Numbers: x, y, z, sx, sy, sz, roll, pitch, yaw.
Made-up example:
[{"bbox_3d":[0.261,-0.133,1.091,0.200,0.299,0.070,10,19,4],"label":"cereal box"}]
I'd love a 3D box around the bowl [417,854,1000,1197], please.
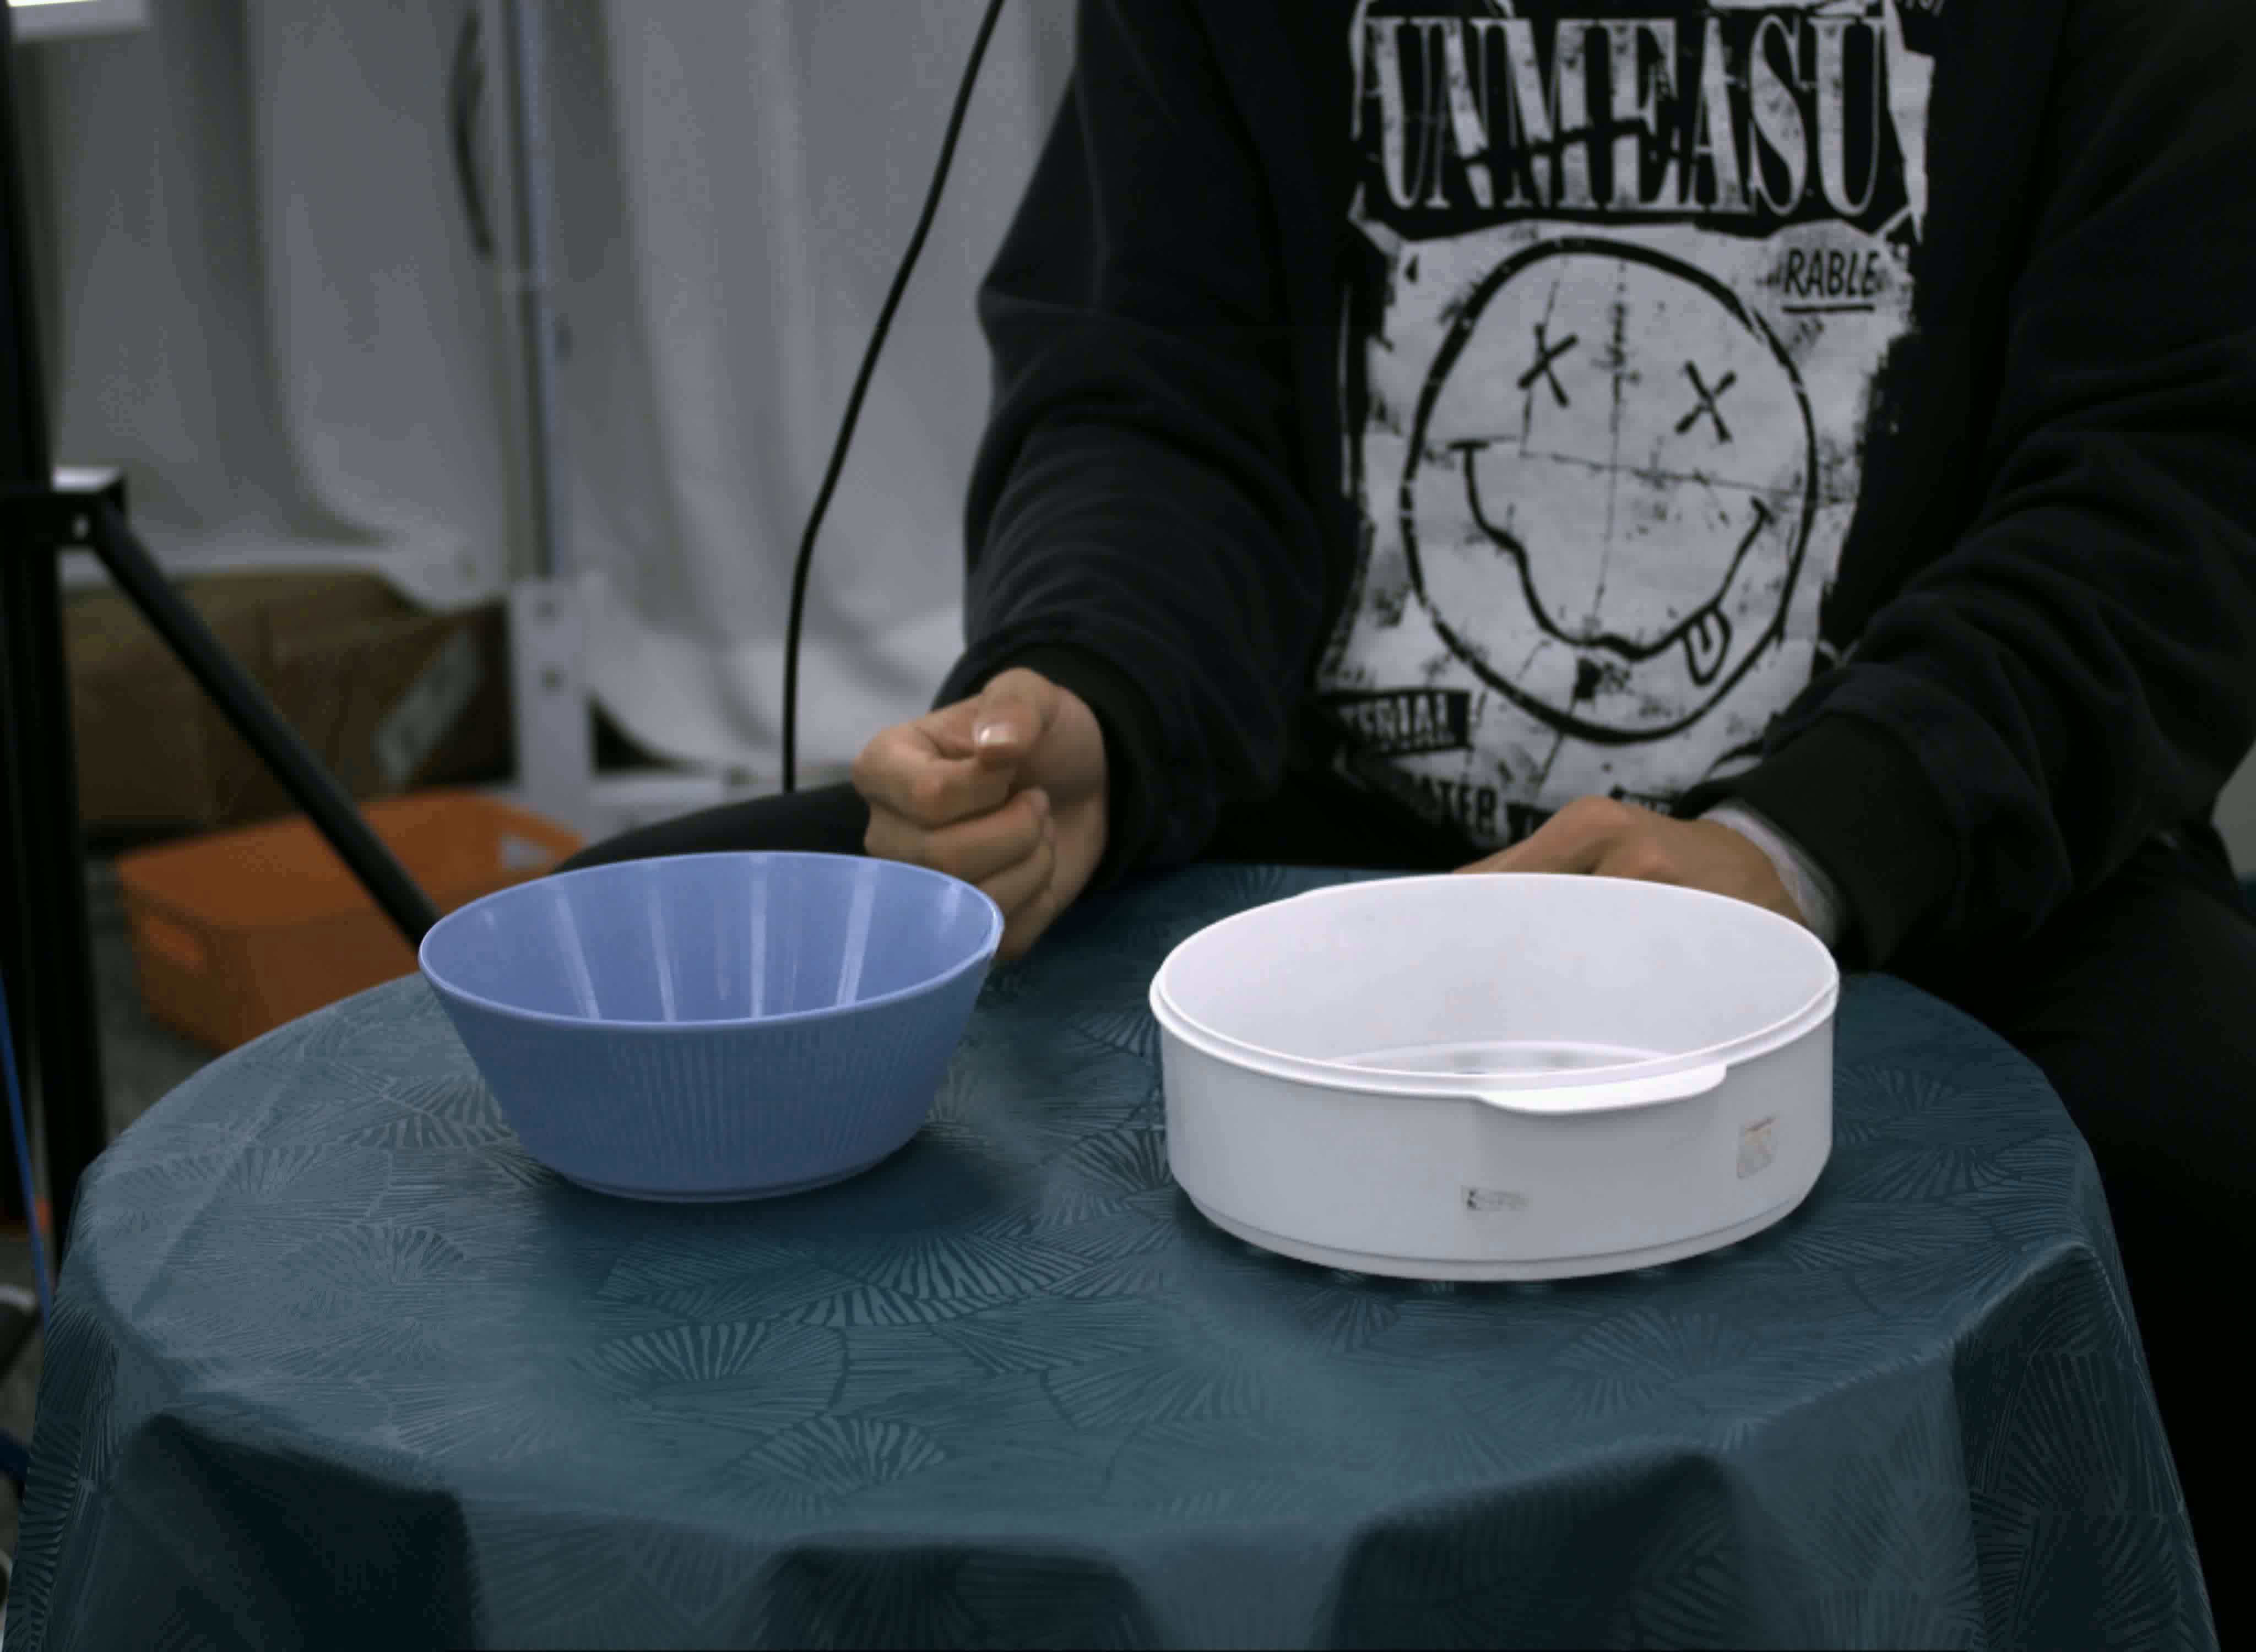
[{"bbox_3d":[-0.125,0.063,1.610,0.175,0.070,0.177,-2,16,-1],"label":"bowl"}]

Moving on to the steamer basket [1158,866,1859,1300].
[{"bbox_3d":[0.110,0.074,1.533,0.199,0.069,0.234,-6,18,-12],"label":"steamer basket"}]
